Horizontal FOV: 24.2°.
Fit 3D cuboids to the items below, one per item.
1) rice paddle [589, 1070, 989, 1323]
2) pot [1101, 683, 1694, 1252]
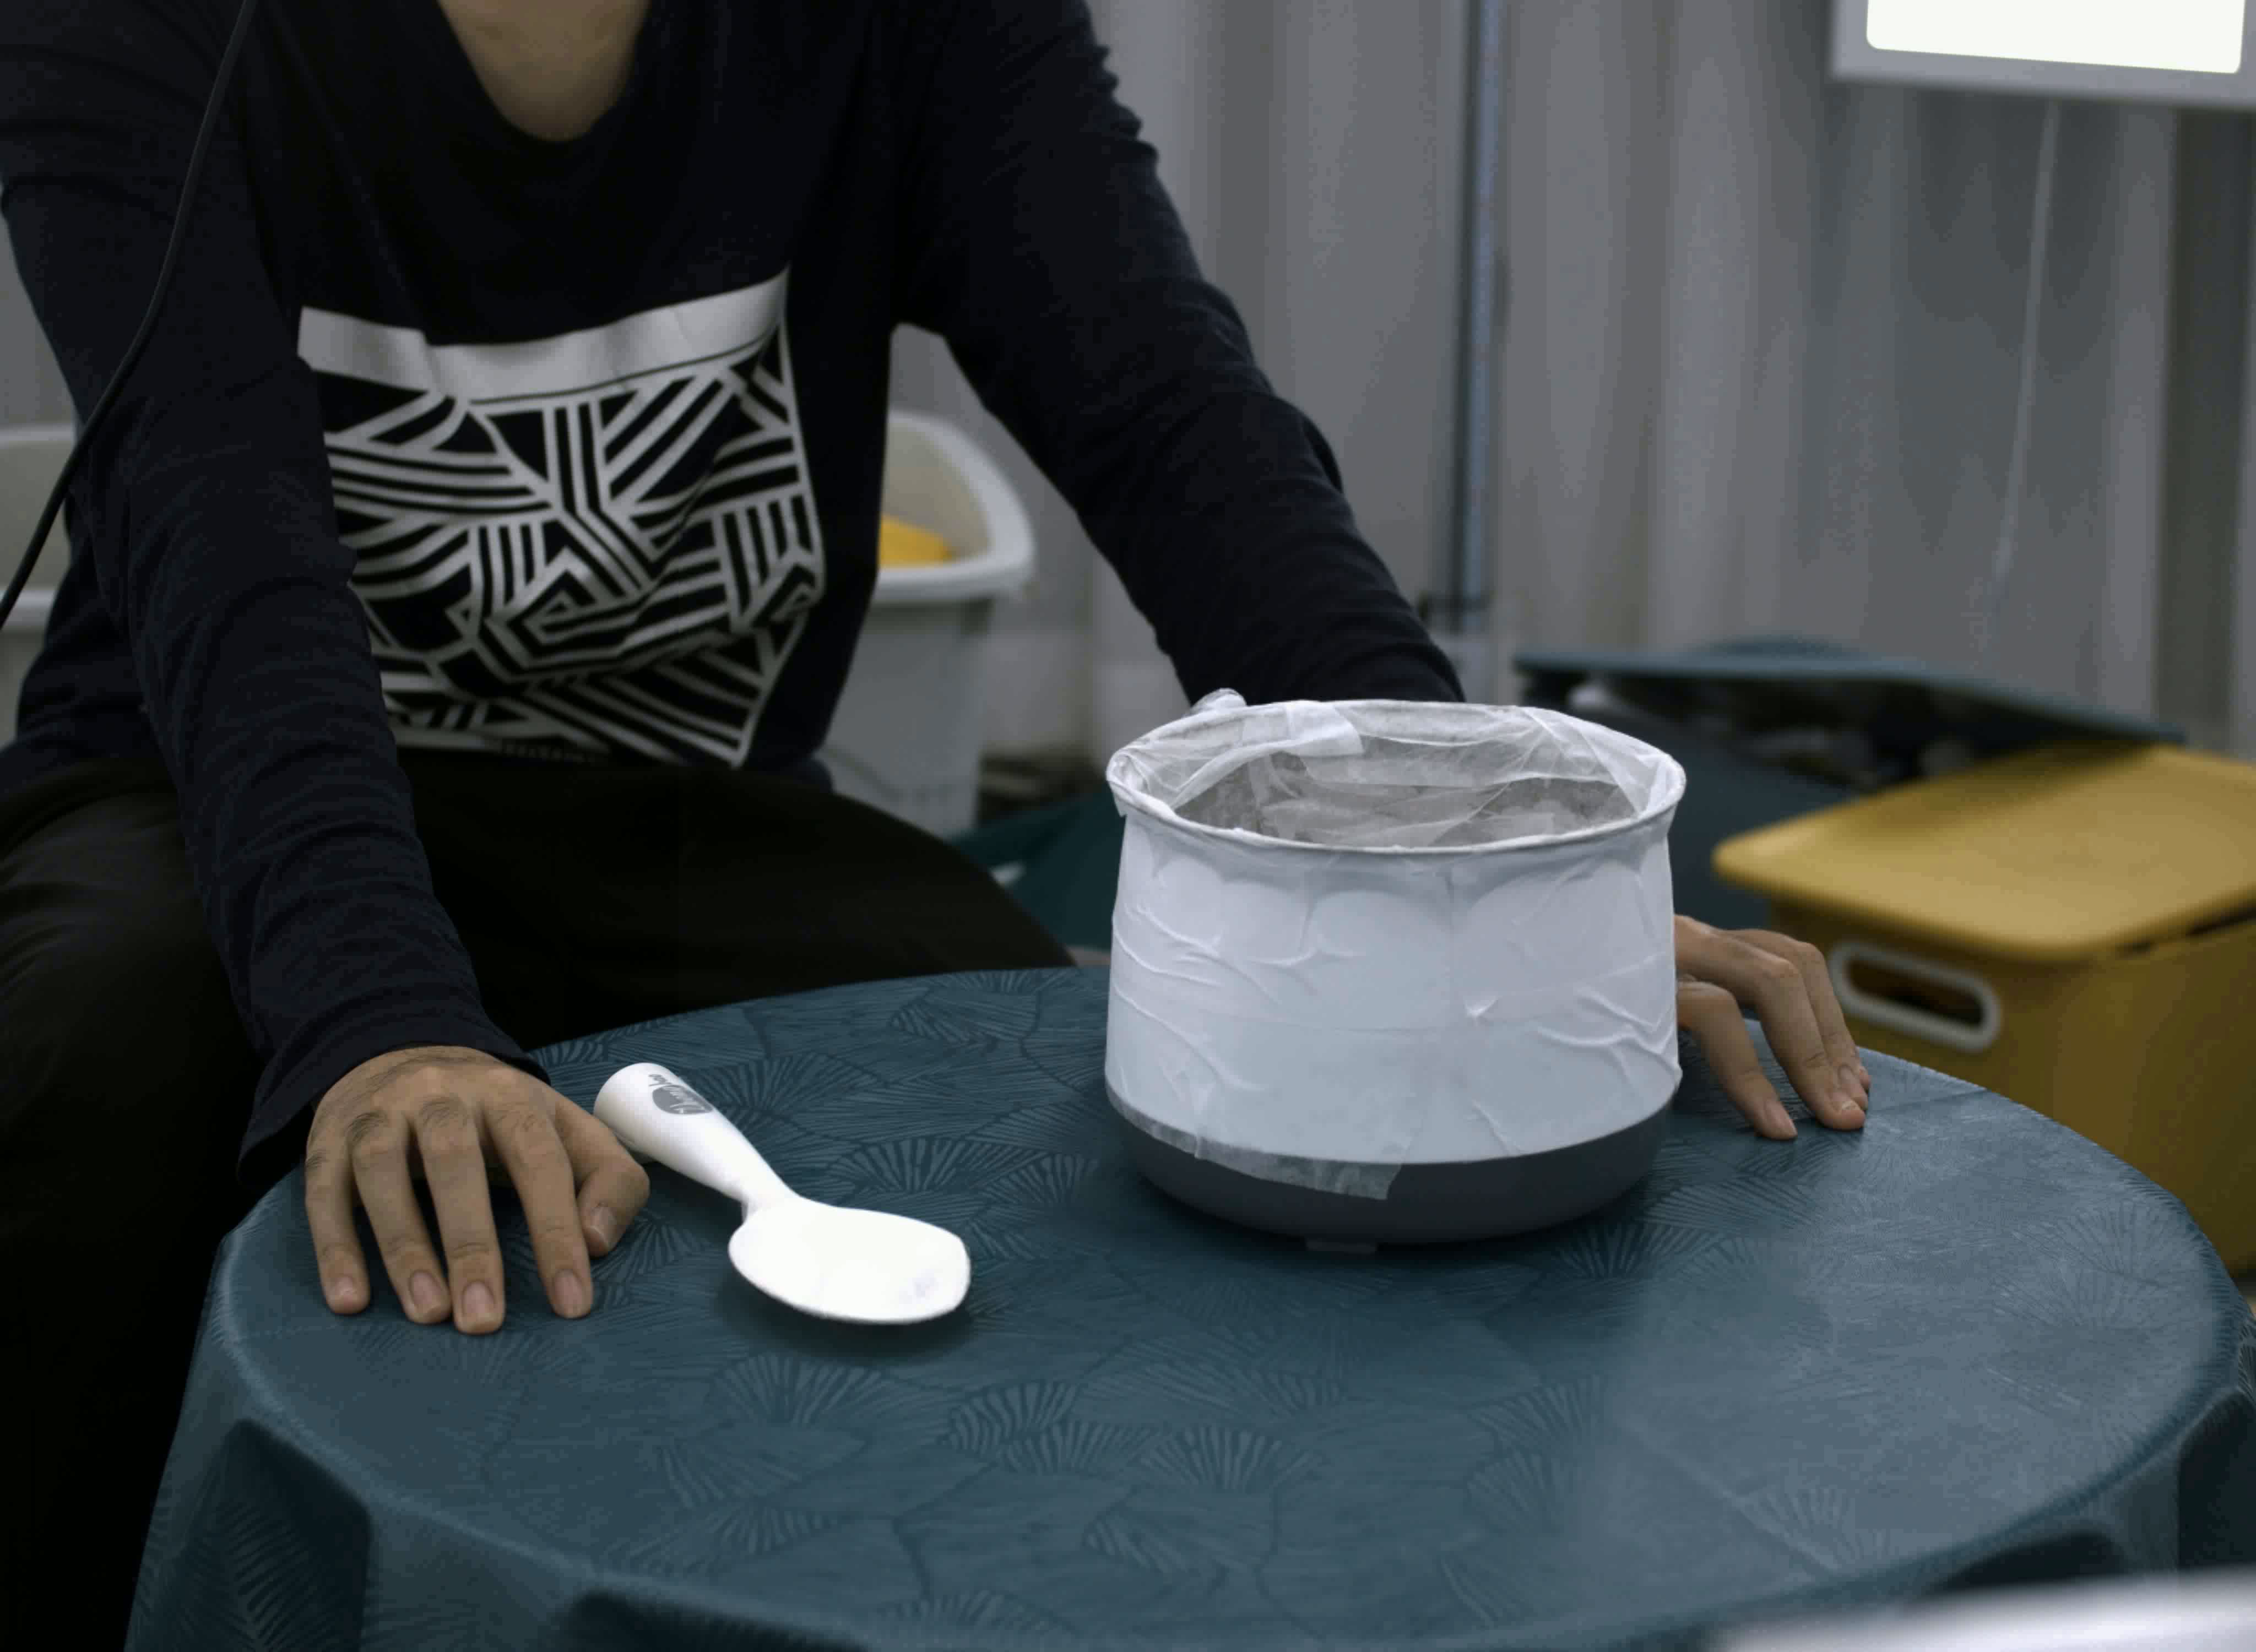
[{"bbox_3d":[-0.105,0.112,1.569,0.069,0.029,0.202,-10,17,-28],"label":"rice paddle"},{"bbox_3d":[0.066,0.038,1.639,0.179,0.137,0.230,-7,18,-33],"label":"pot"}]
